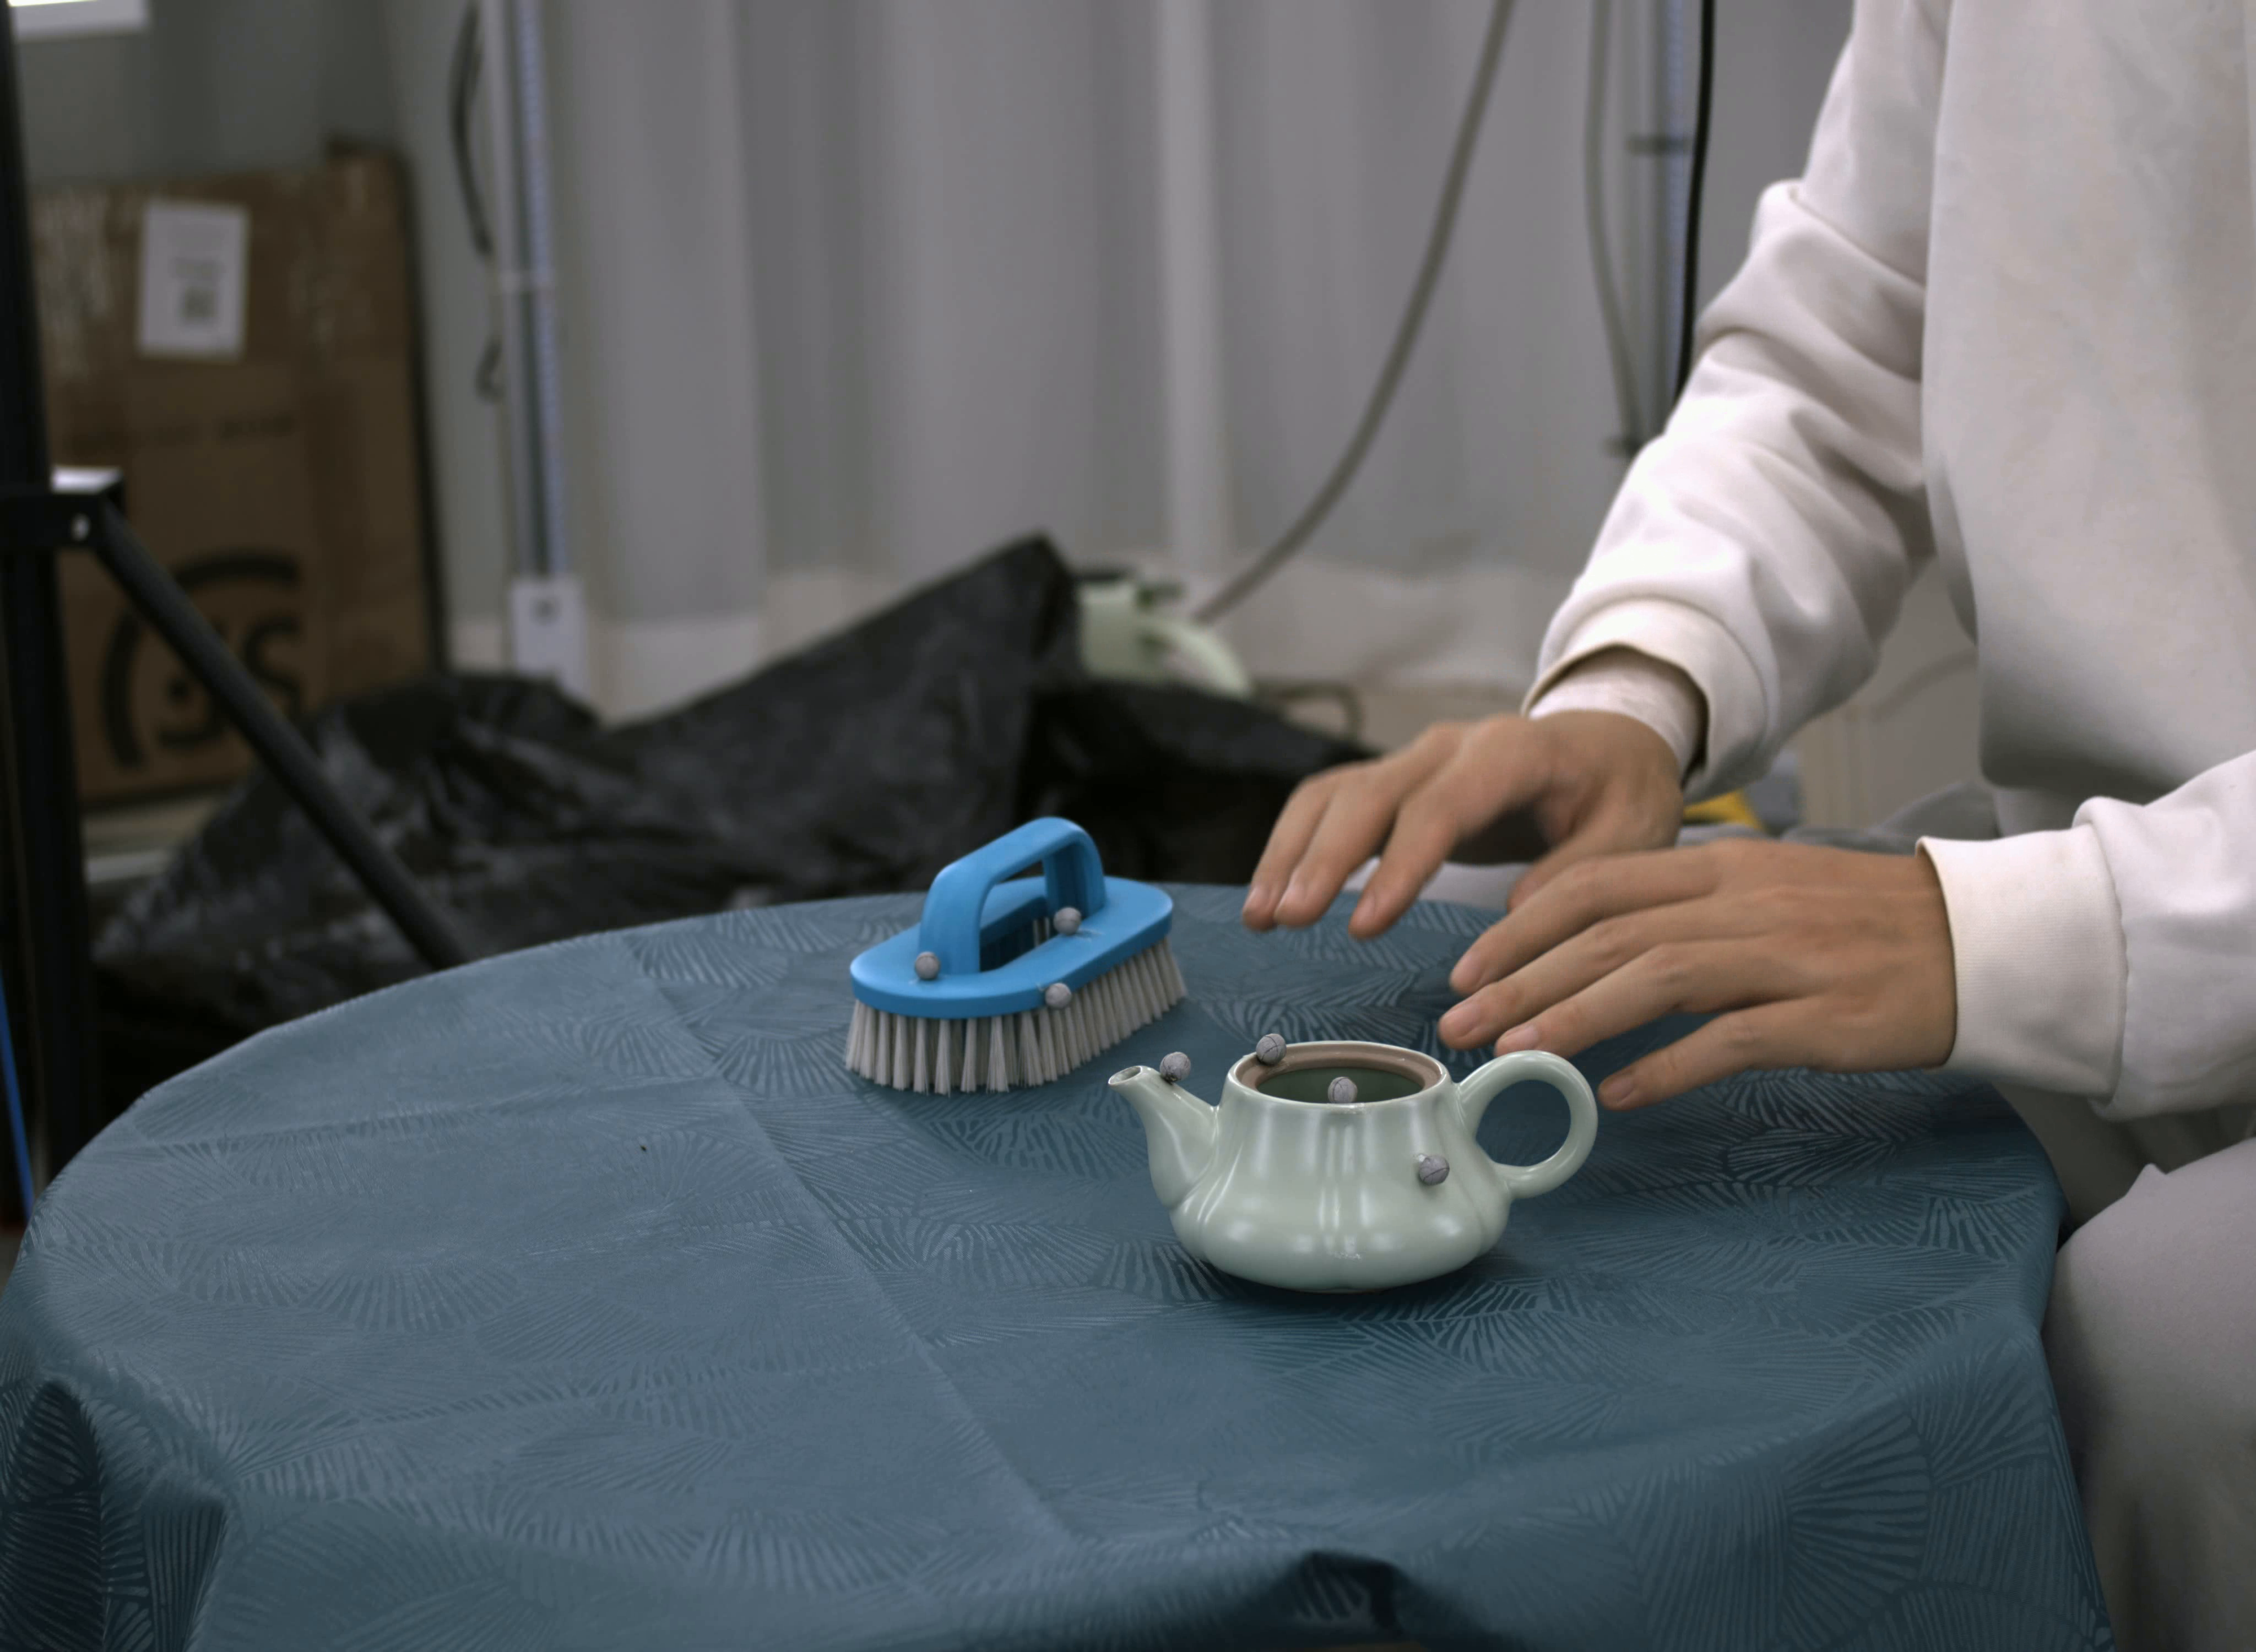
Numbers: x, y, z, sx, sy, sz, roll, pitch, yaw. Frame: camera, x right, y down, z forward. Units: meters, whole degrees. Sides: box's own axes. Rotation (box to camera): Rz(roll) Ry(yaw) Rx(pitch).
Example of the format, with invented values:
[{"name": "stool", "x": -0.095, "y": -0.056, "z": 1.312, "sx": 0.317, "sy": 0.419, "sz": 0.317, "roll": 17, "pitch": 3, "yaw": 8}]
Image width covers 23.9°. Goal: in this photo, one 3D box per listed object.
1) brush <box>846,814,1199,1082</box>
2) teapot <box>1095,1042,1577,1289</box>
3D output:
[{"name": "brush", "x": -0.036, "y": 0.034, "z": 1.708, "sx": 0.086, "sy": 0.064, "sz": 0.139, "roll": 1, "pitch": 15, "yaw": 31}, {"name": "teapot", "x": 0.059, "y": 0.094, "z": 1.491, "sx": 0.136, "sy": 0.061, "sz": 0.096, "roll": -1, "pitch": 11, "yaw": -2}]
